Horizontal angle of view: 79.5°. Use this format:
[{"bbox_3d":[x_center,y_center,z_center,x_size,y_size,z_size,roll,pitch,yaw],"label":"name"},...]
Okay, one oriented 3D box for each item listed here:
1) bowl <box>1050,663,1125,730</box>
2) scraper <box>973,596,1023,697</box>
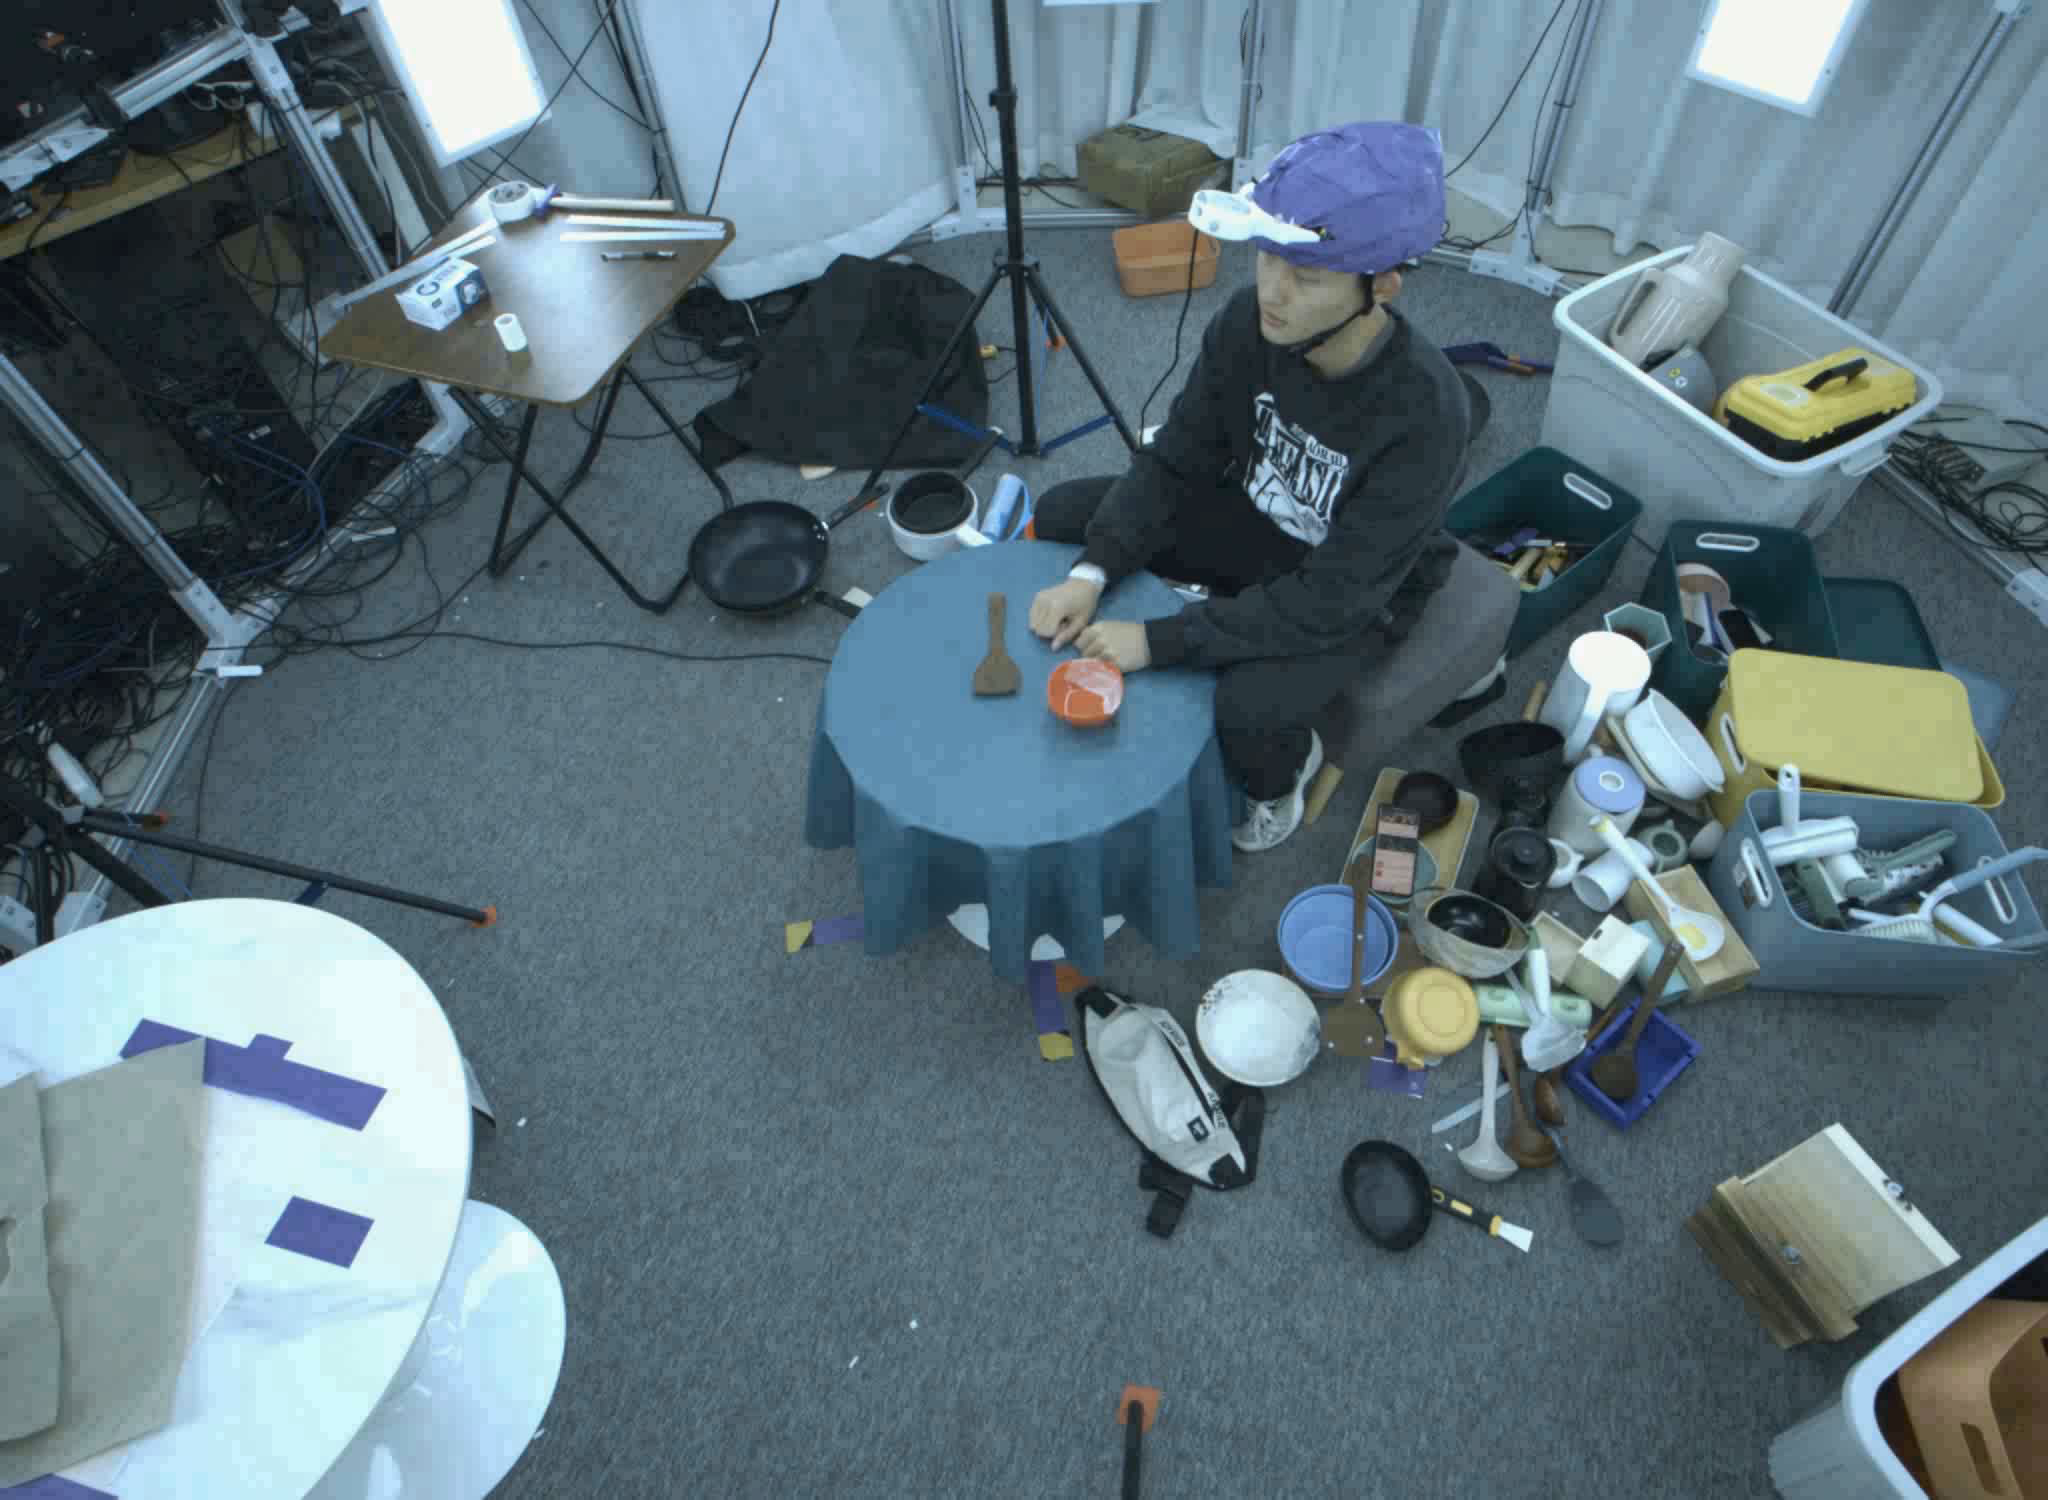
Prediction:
[{"bbox_3d":[0.094,-0.071,1.815,0.119,0.052,0.118,-2,55,3],"label":"bowl"},{"bbox_3d":[-0.040,-0.162,1.908,0.076,0.011,0.209,-1,54,0],"label":"scraper"}]
